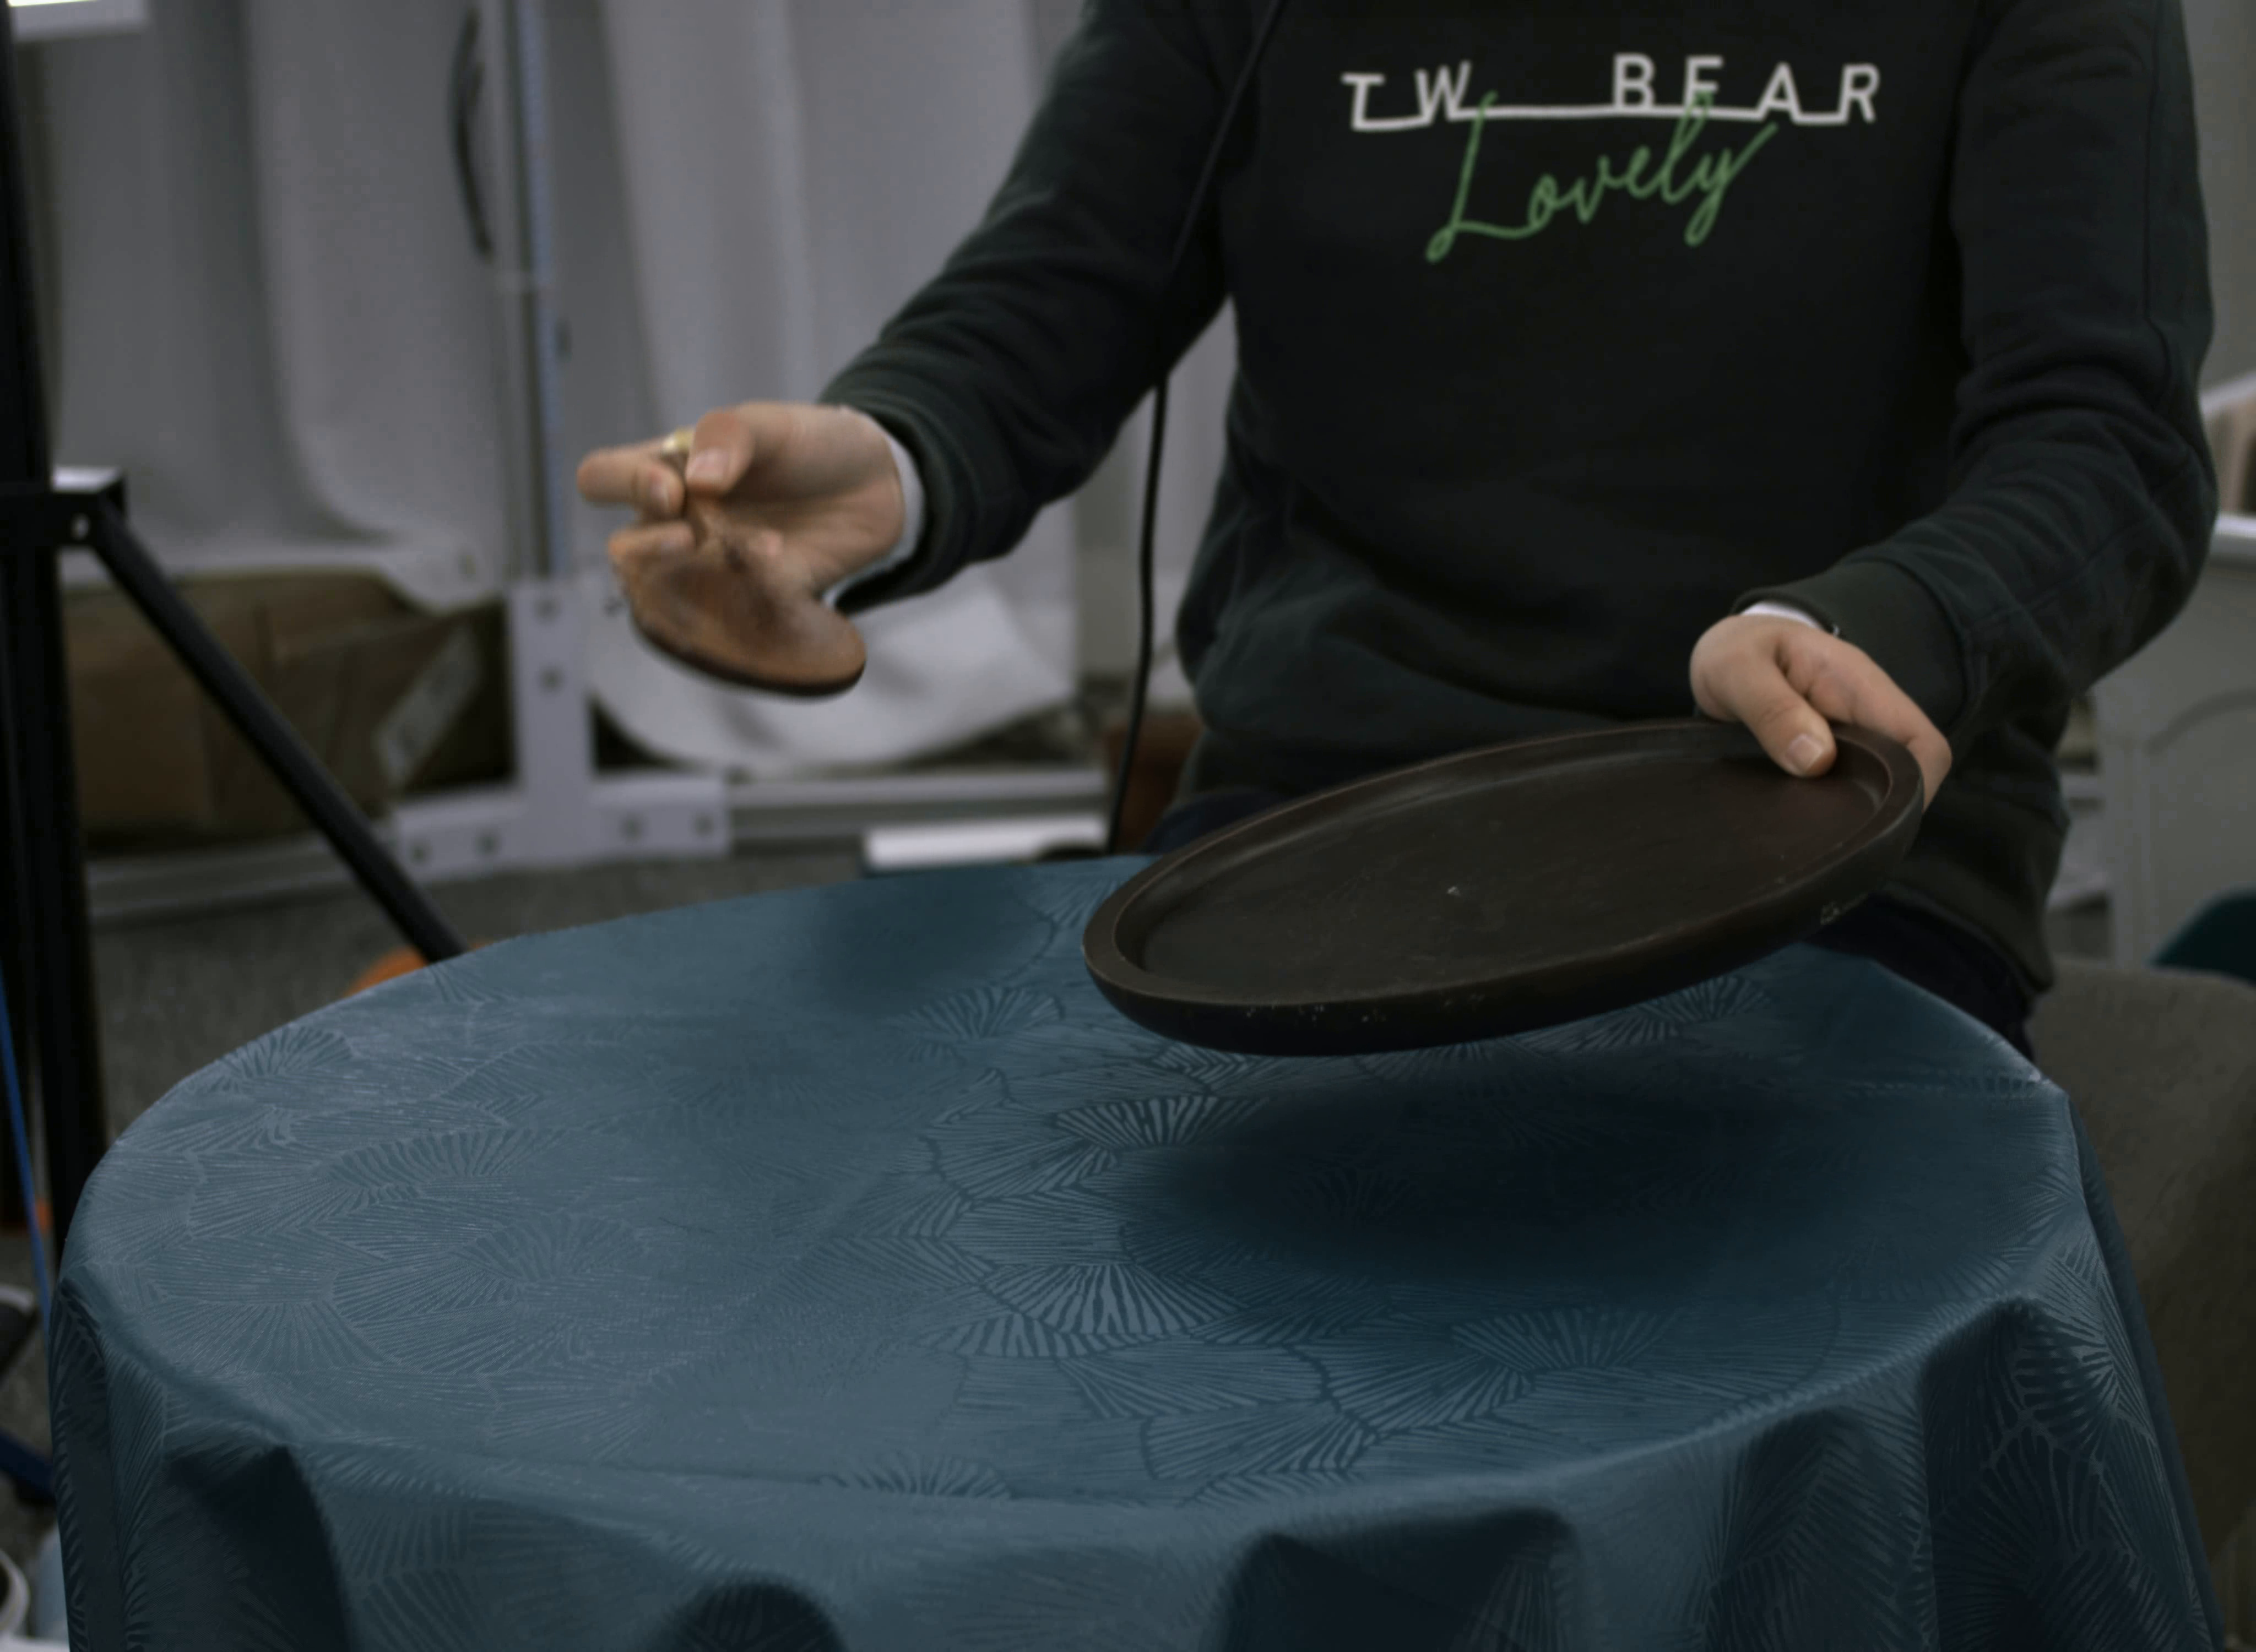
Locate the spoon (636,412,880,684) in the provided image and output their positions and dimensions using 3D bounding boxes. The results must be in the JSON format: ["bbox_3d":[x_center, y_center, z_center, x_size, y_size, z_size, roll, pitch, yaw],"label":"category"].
[{"bbox_3d":[-0.124,-0.086,1.670,0.074,0.017,0.219,11,21,-15],"label":"spoon"}]

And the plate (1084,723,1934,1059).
[{"bbox_3d":[0.112,0.017,1.559,0.254,0.029,0.256,-13,15,2],"label":"plate"}]
